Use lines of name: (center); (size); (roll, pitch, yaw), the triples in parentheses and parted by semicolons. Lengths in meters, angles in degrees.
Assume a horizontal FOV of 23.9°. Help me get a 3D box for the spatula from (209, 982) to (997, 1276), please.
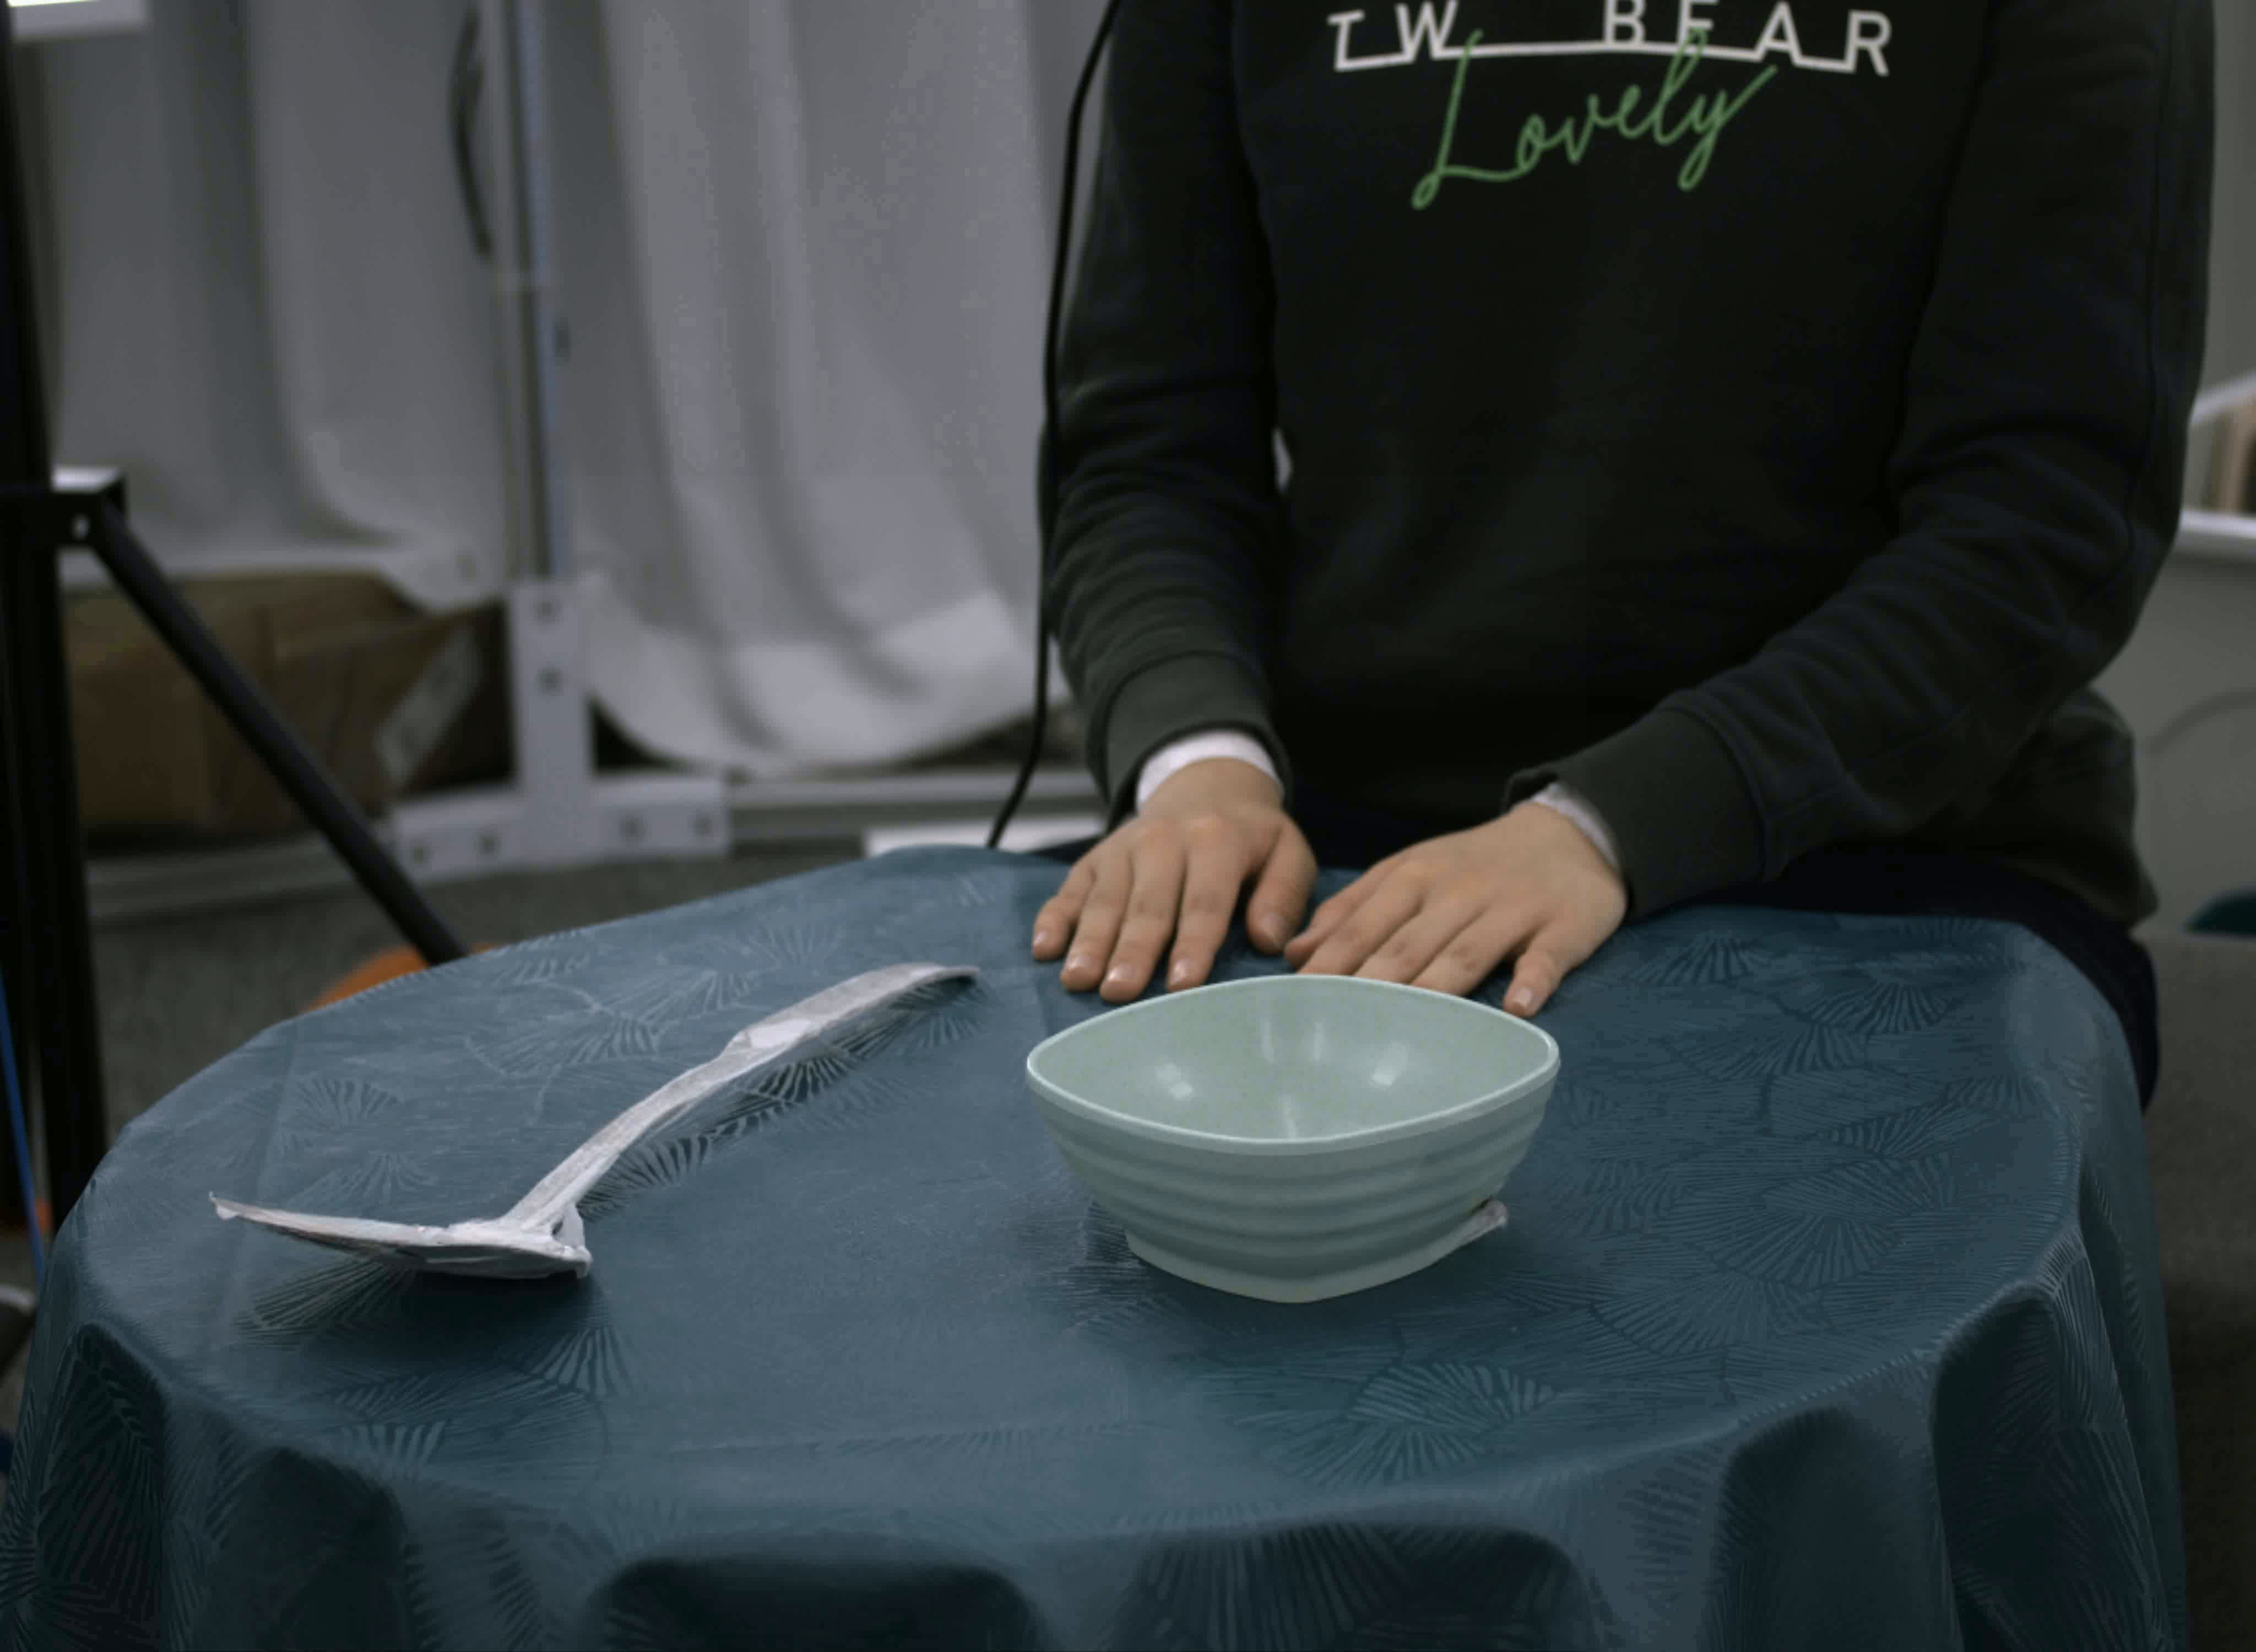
spatula: (-0.136, 0.081, 1.605); (0.100, 0.045, 0.359); (4, 17, 28)

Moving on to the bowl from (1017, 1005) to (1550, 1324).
bowl: (0.044, 0.098, 1.504); (0.150, 0.059, 0.152); (1, 13, -2)
